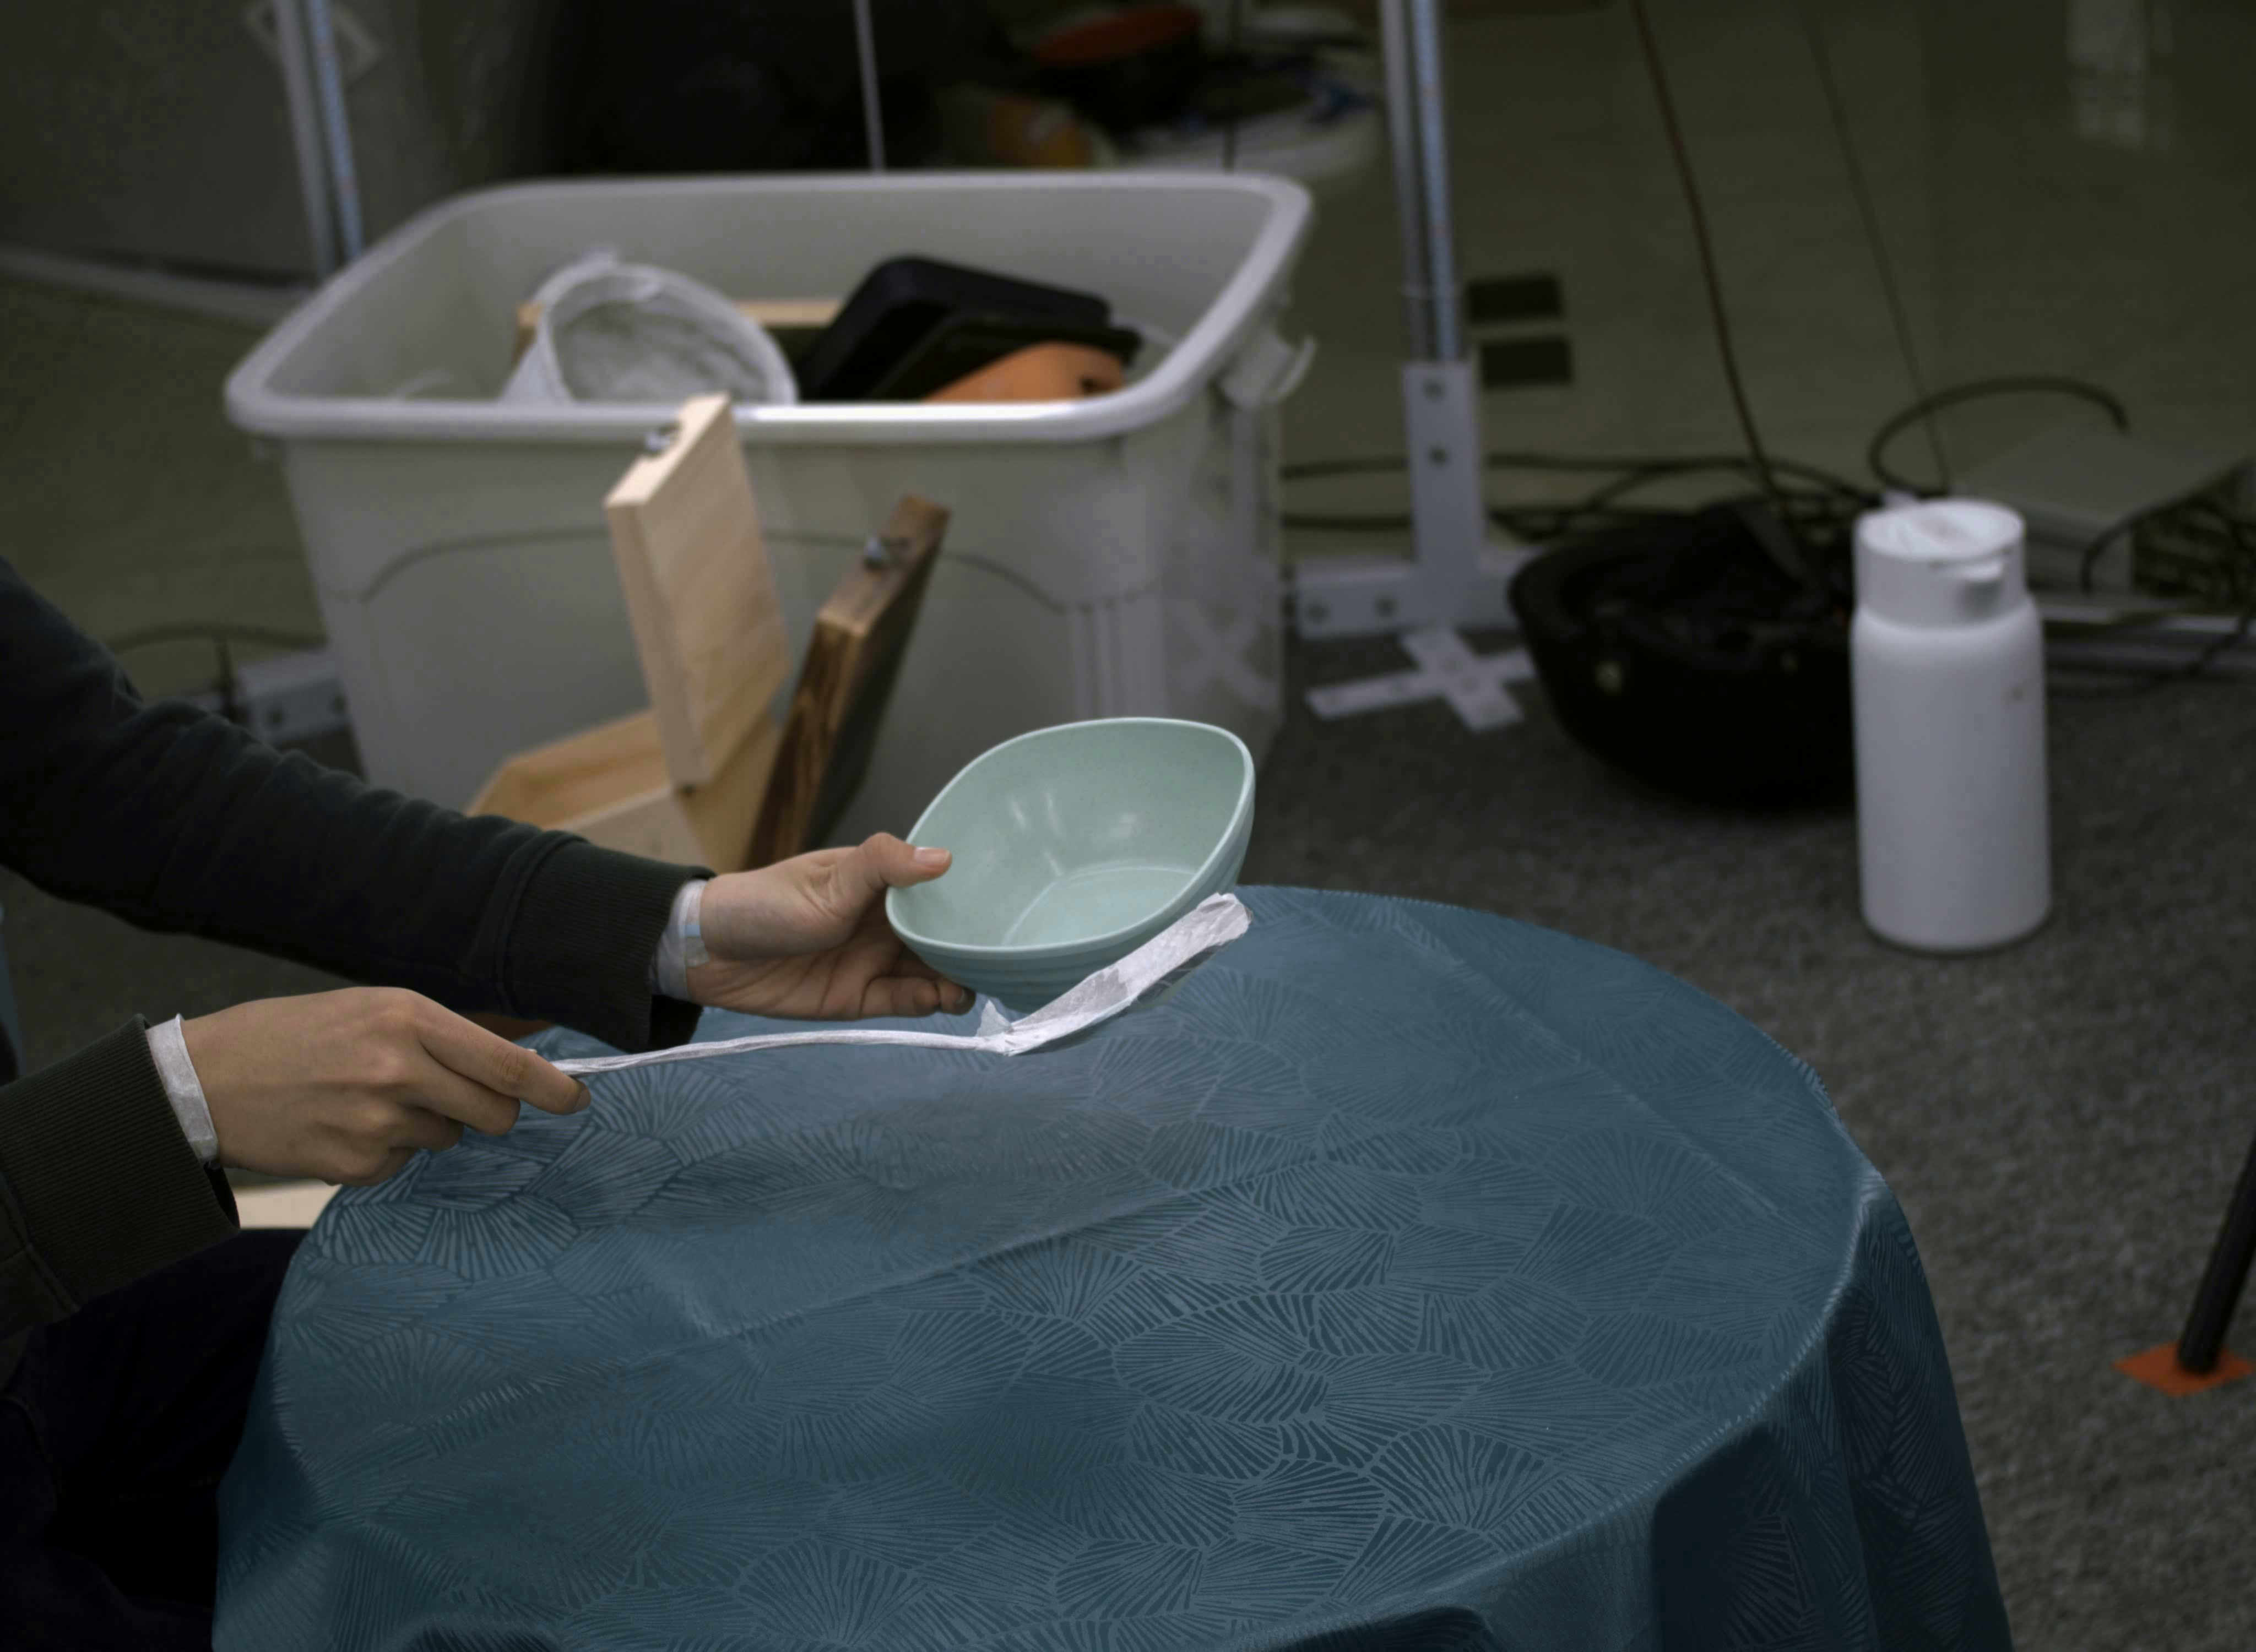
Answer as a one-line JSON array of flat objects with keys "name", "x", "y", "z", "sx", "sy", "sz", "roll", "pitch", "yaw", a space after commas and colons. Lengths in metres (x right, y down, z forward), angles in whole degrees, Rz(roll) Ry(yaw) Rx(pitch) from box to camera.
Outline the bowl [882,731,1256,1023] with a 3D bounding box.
[{"name": "bowl", "x": -0.015, "y": 0.027, "z": 2.150, "sx": 0.151, "sy": 0.059, "sz": 0.149, "roll": -13, "pitch": 34, "yaw": 9}]

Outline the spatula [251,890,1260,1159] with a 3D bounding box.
[{"name": "spatula", "x": -0.132, "y": 0.073, "z": 1.973, "sx": 0.364, "sy": 0.045, "sz": 0.098, "roll": -8, "pitch": 10, "yaw": 2}]
